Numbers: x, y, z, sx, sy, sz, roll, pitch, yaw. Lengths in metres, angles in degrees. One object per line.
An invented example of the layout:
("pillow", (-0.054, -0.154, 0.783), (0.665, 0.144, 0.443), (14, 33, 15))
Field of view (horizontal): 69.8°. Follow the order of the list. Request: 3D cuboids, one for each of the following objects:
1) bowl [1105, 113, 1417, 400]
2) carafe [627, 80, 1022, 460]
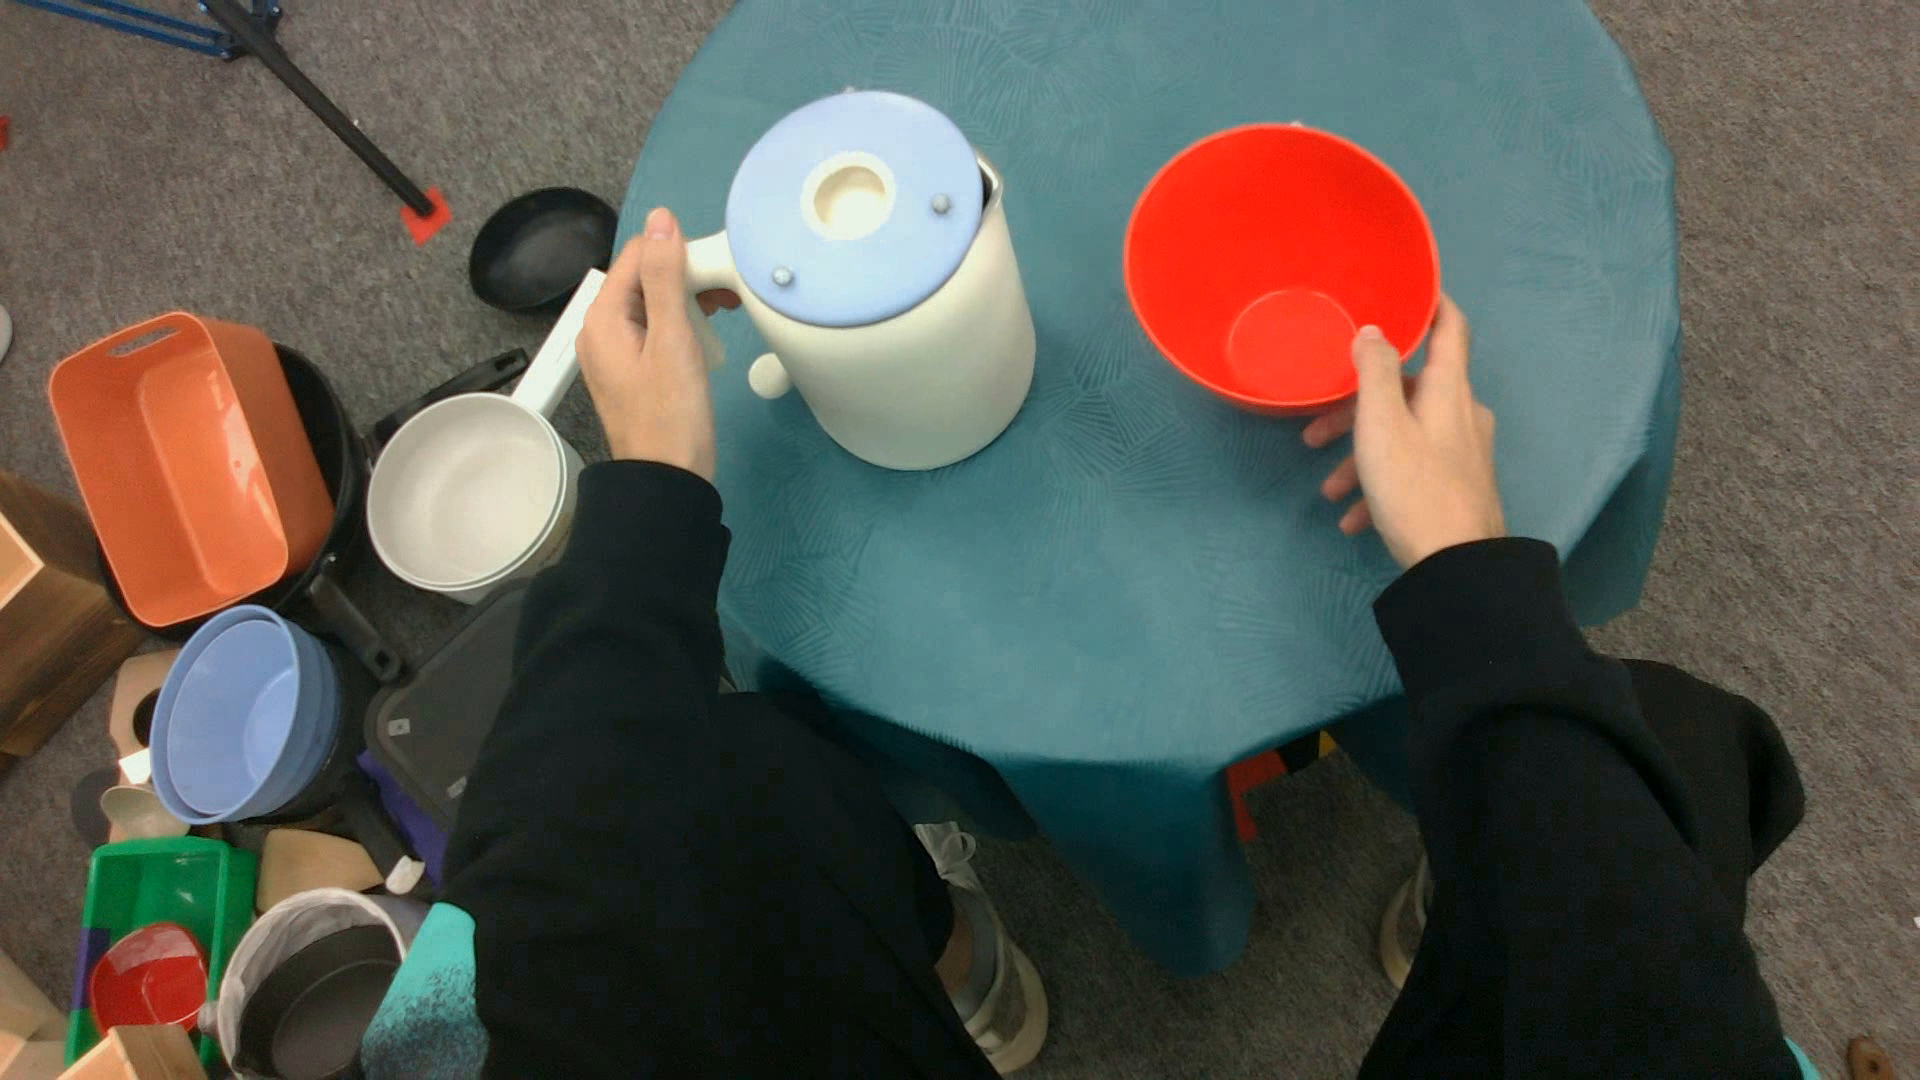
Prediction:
("bowl", (0.151, -0.129, 0.698), (0.148, 0.104, 0.148), (-3, 71, 9))
("carafe", (-0.067, -0.124, 0.695), (0.191, 0.182, 0.132), (-11, 69, 8))
